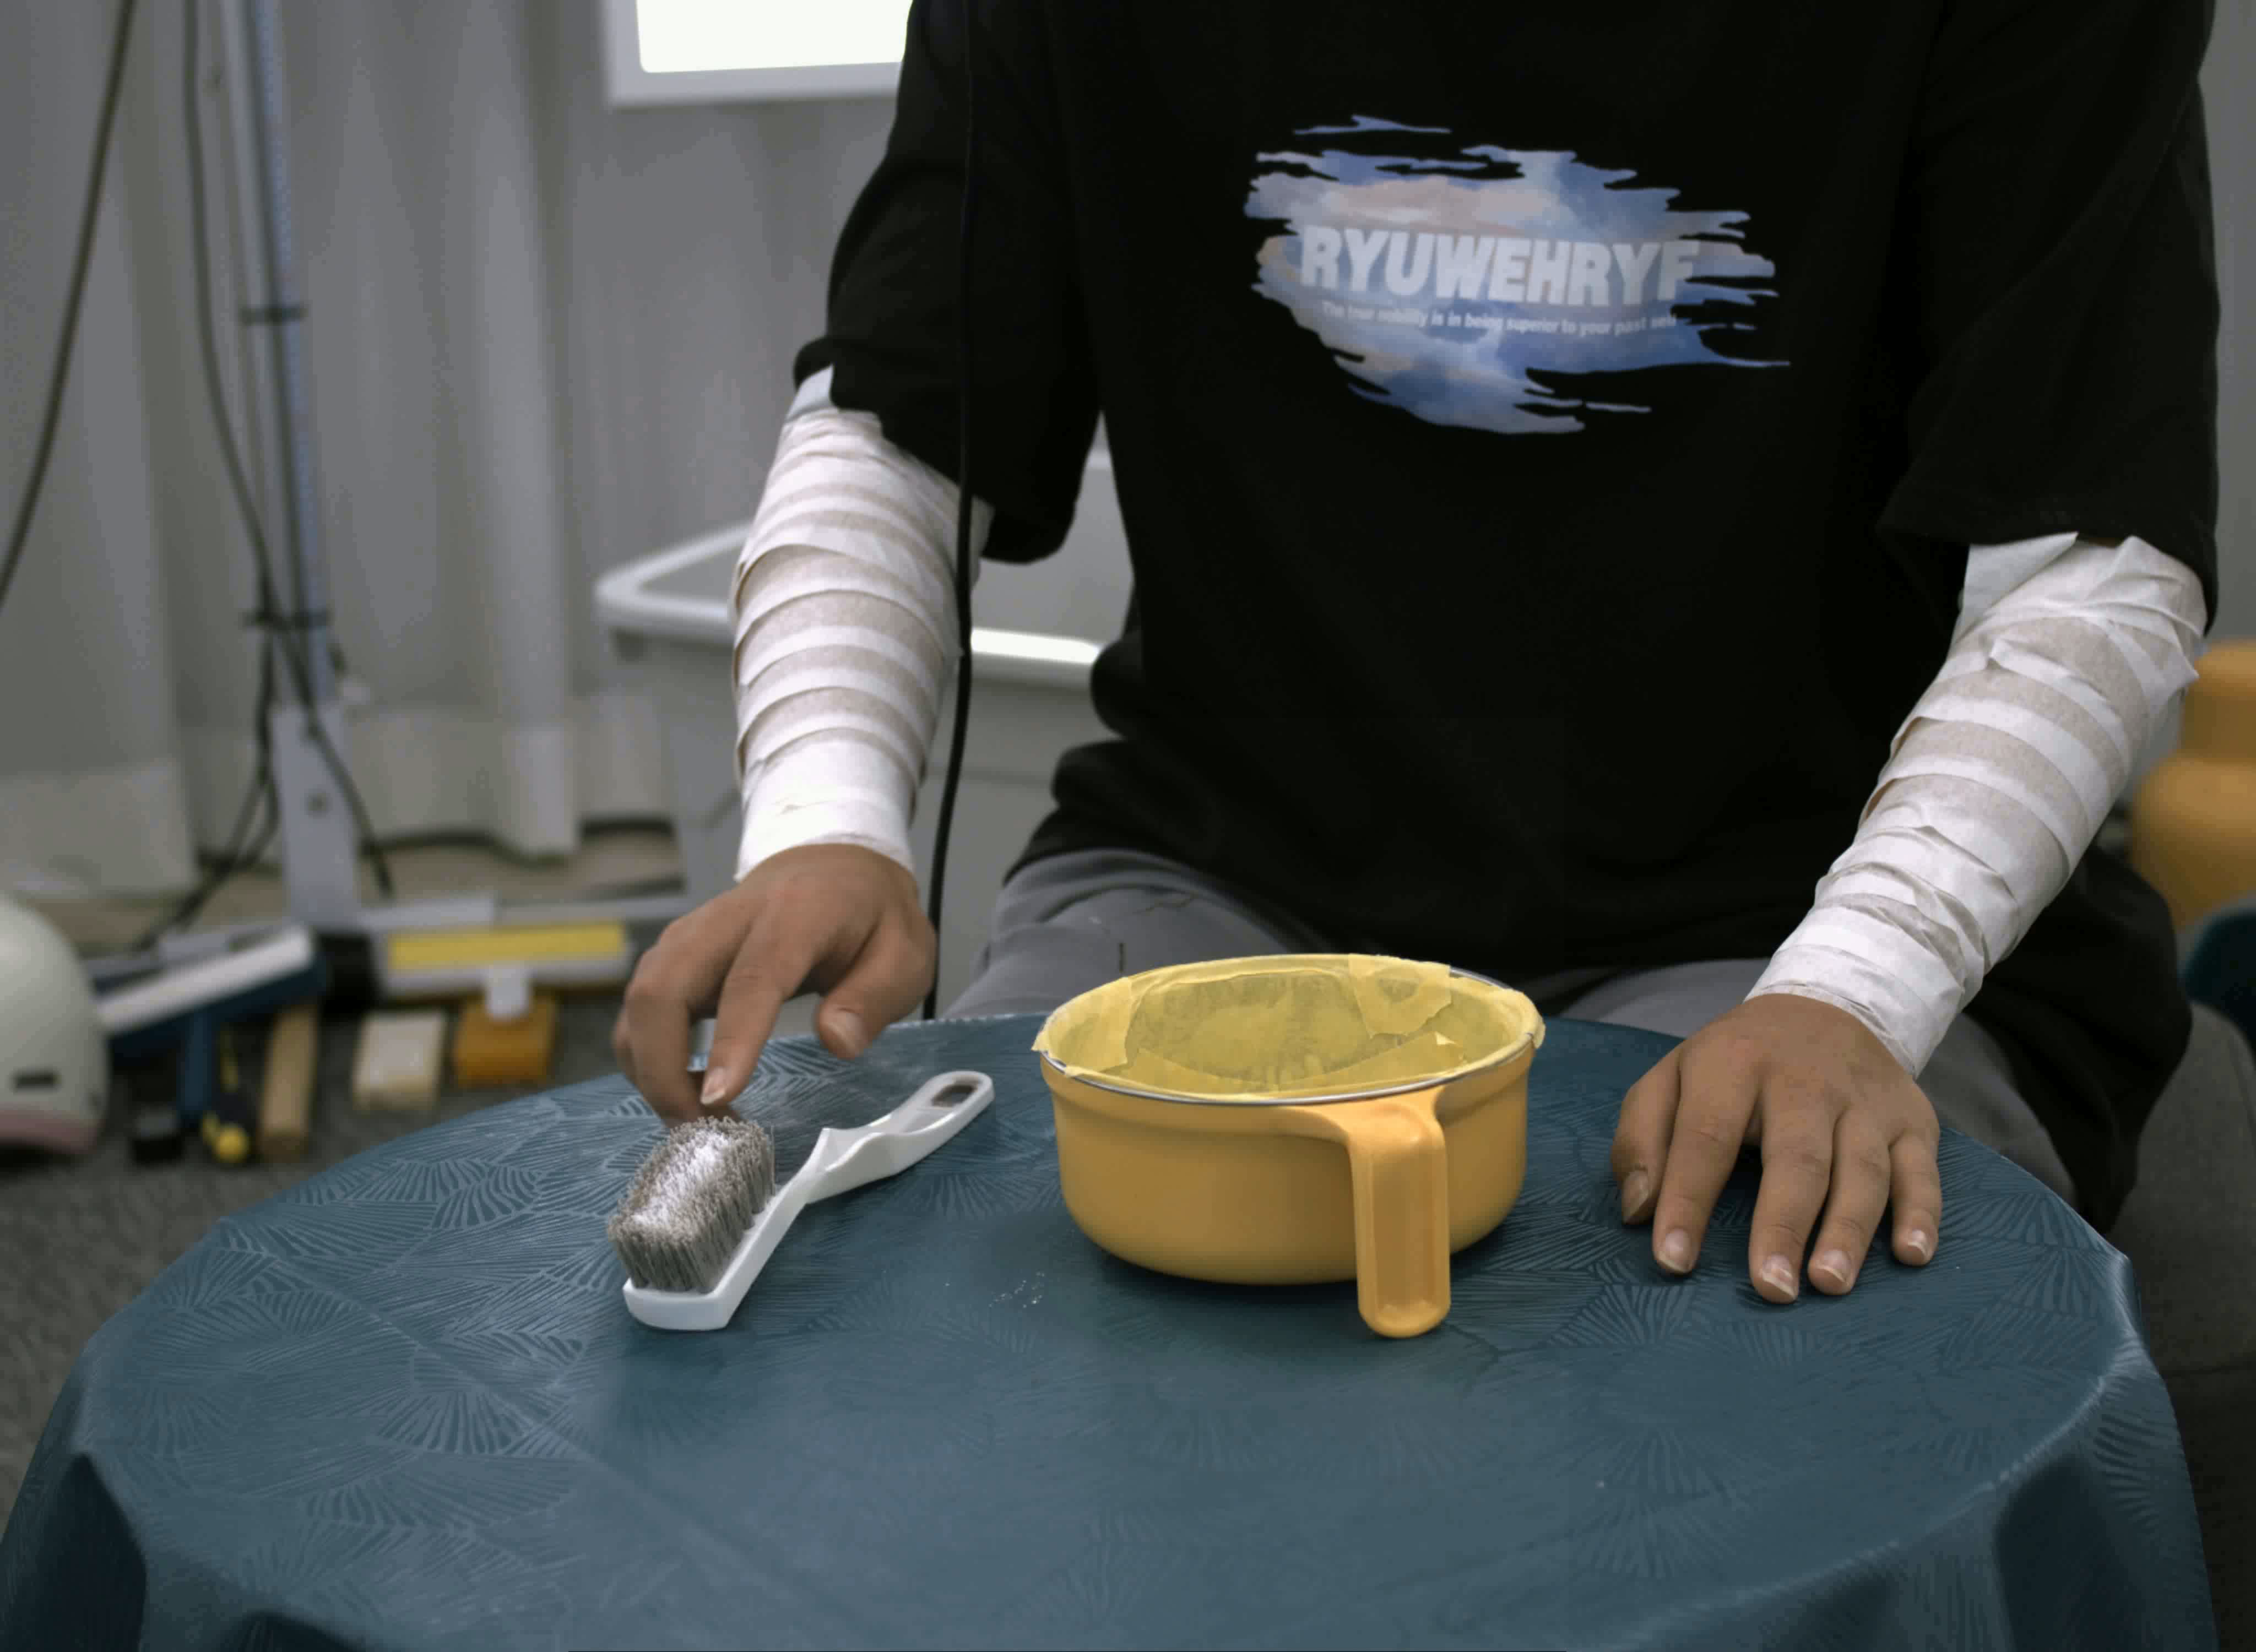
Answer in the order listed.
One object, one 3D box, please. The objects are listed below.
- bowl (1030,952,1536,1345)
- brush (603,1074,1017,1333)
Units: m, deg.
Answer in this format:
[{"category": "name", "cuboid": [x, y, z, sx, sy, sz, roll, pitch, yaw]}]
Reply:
[{"category": "bowl", "cuboid": [0.052, 0.095, 1.648, 0.152, 0.074, 0.180, -7, 14, -19]}, {"category": "brush", "cuboid": [-0.094, 0.097, 1.700, 0.034, 0.050, 0.244, 2, 15, 24]}]
